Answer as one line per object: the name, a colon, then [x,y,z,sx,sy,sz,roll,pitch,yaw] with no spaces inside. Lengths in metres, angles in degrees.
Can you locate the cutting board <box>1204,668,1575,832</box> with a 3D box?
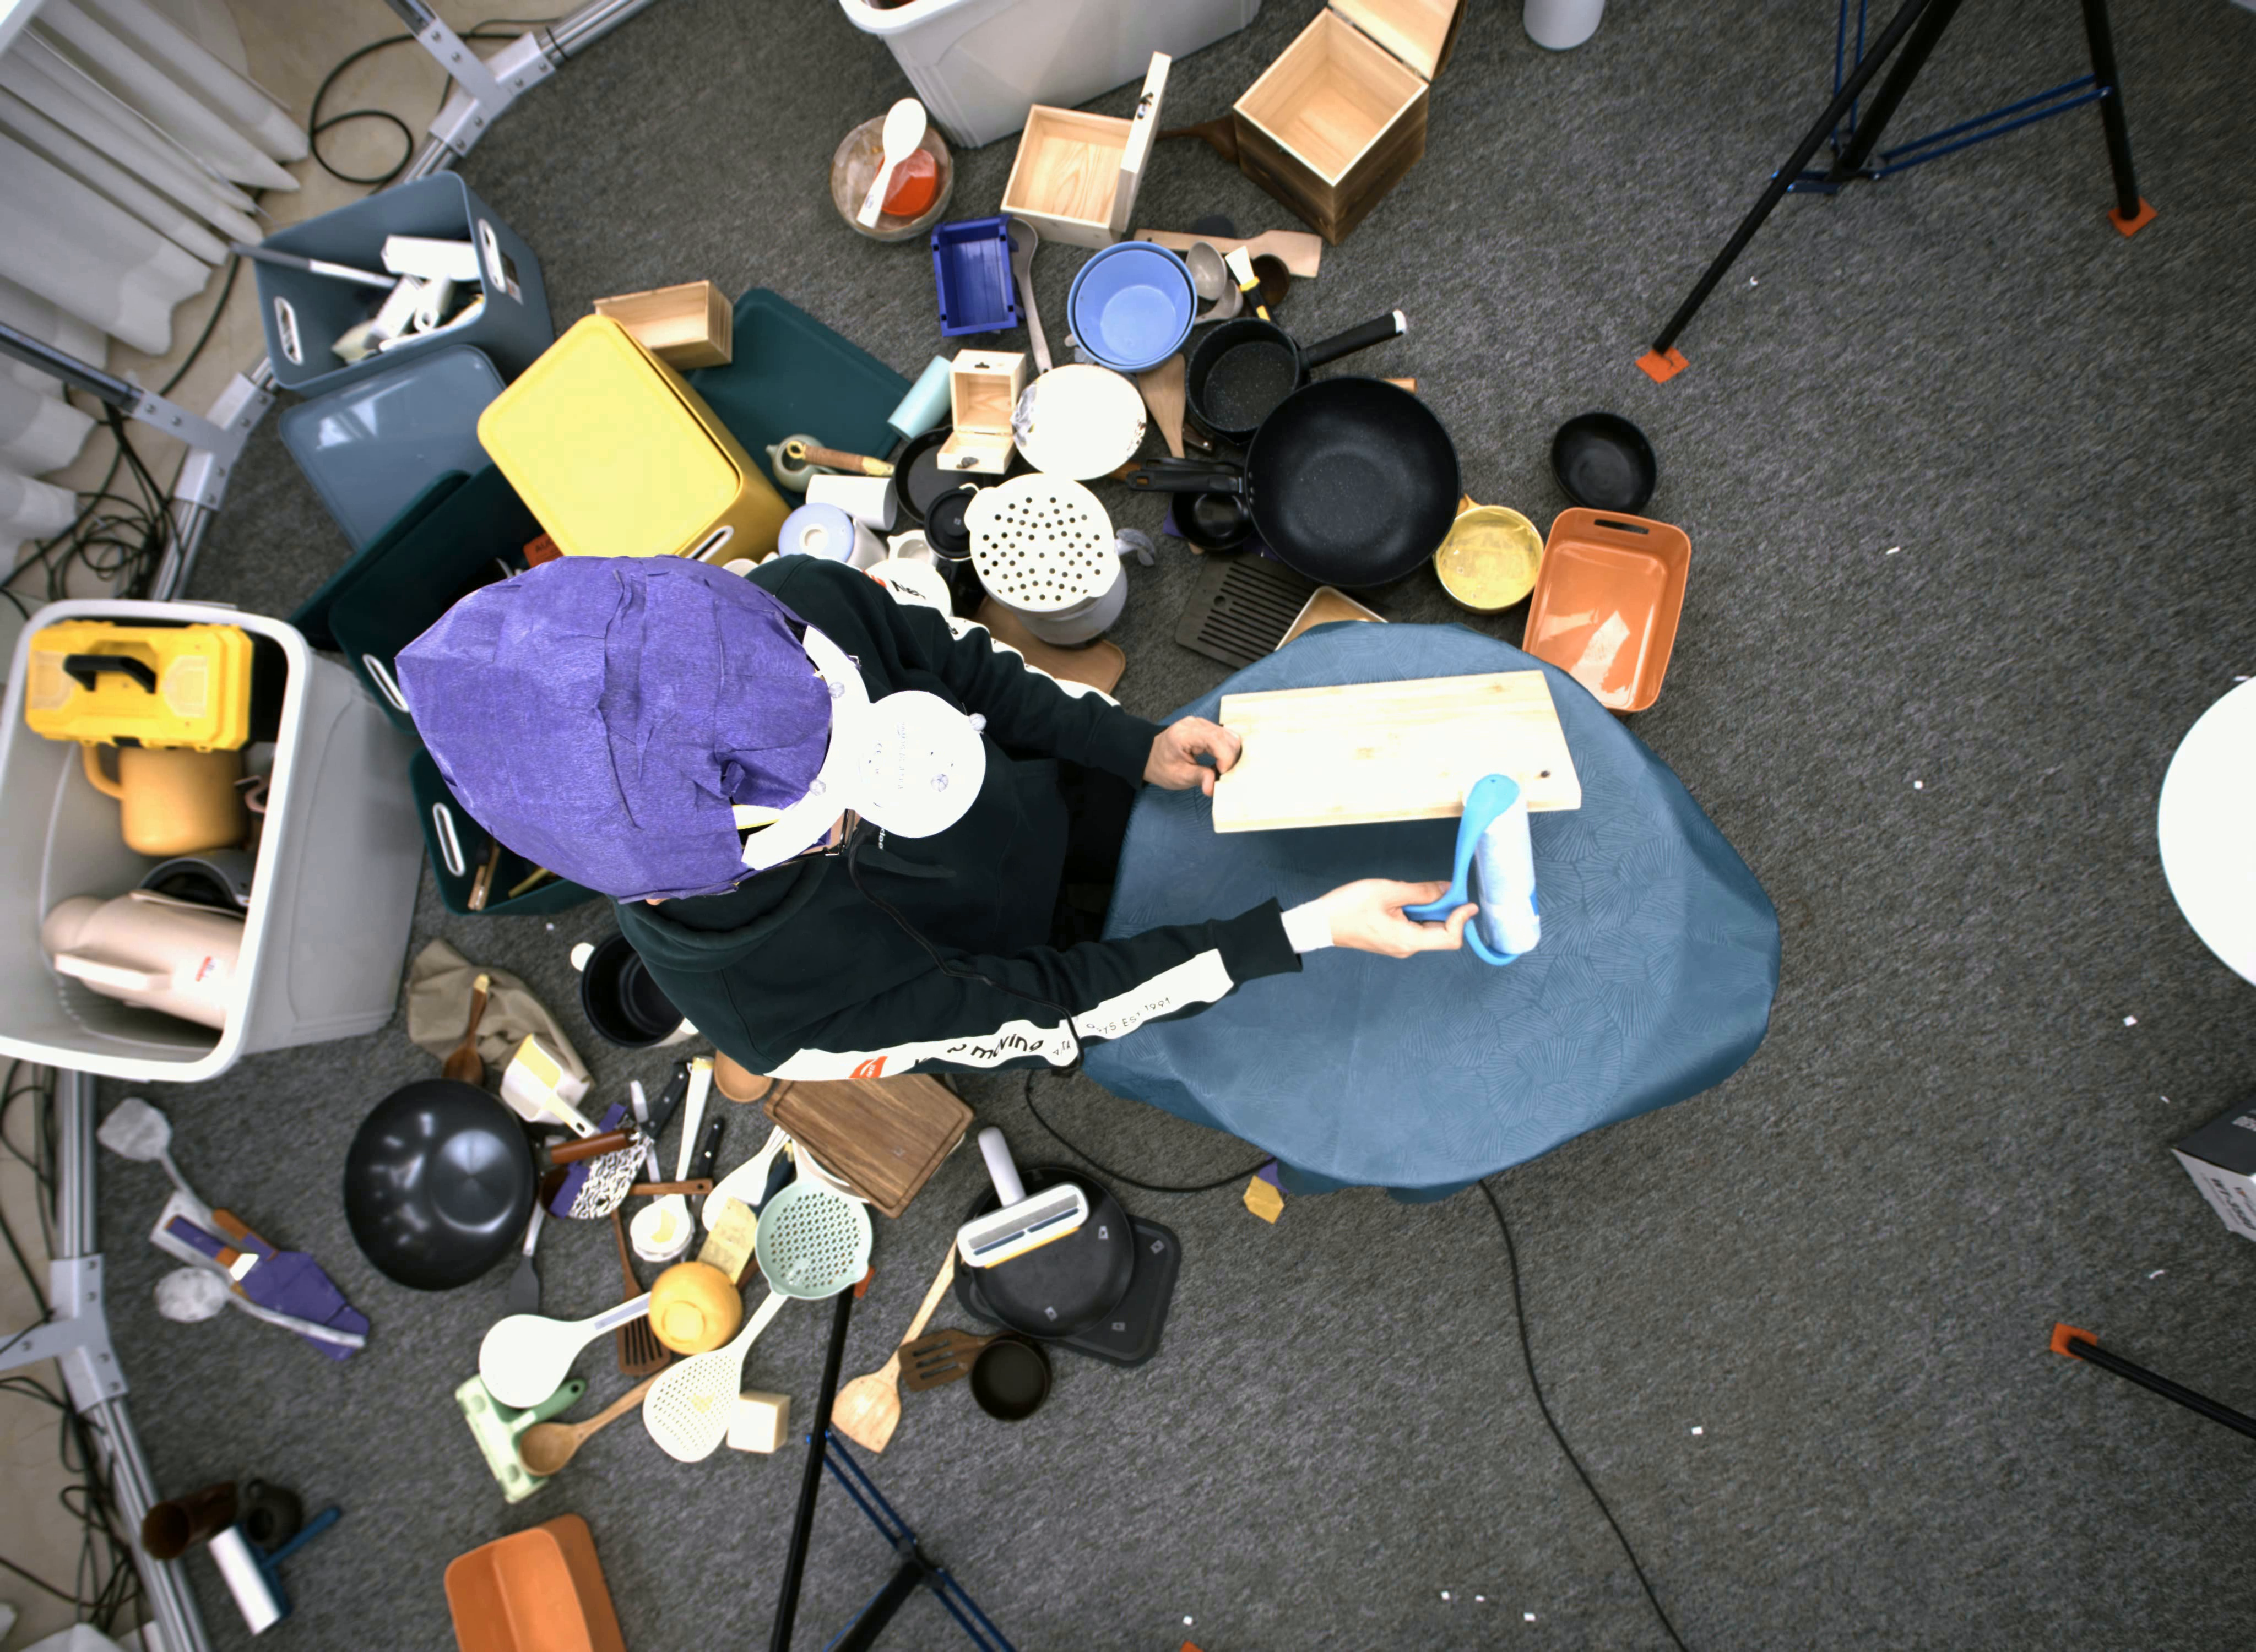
cutting board: [0.253,-0.080,1.368,0.350,0.244,0.024,-5,124,9]

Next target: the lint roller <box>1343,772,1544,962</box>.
lint roller: [0.294,0.056,1.282,0.181,0.233,0.066,-20,45,8]
